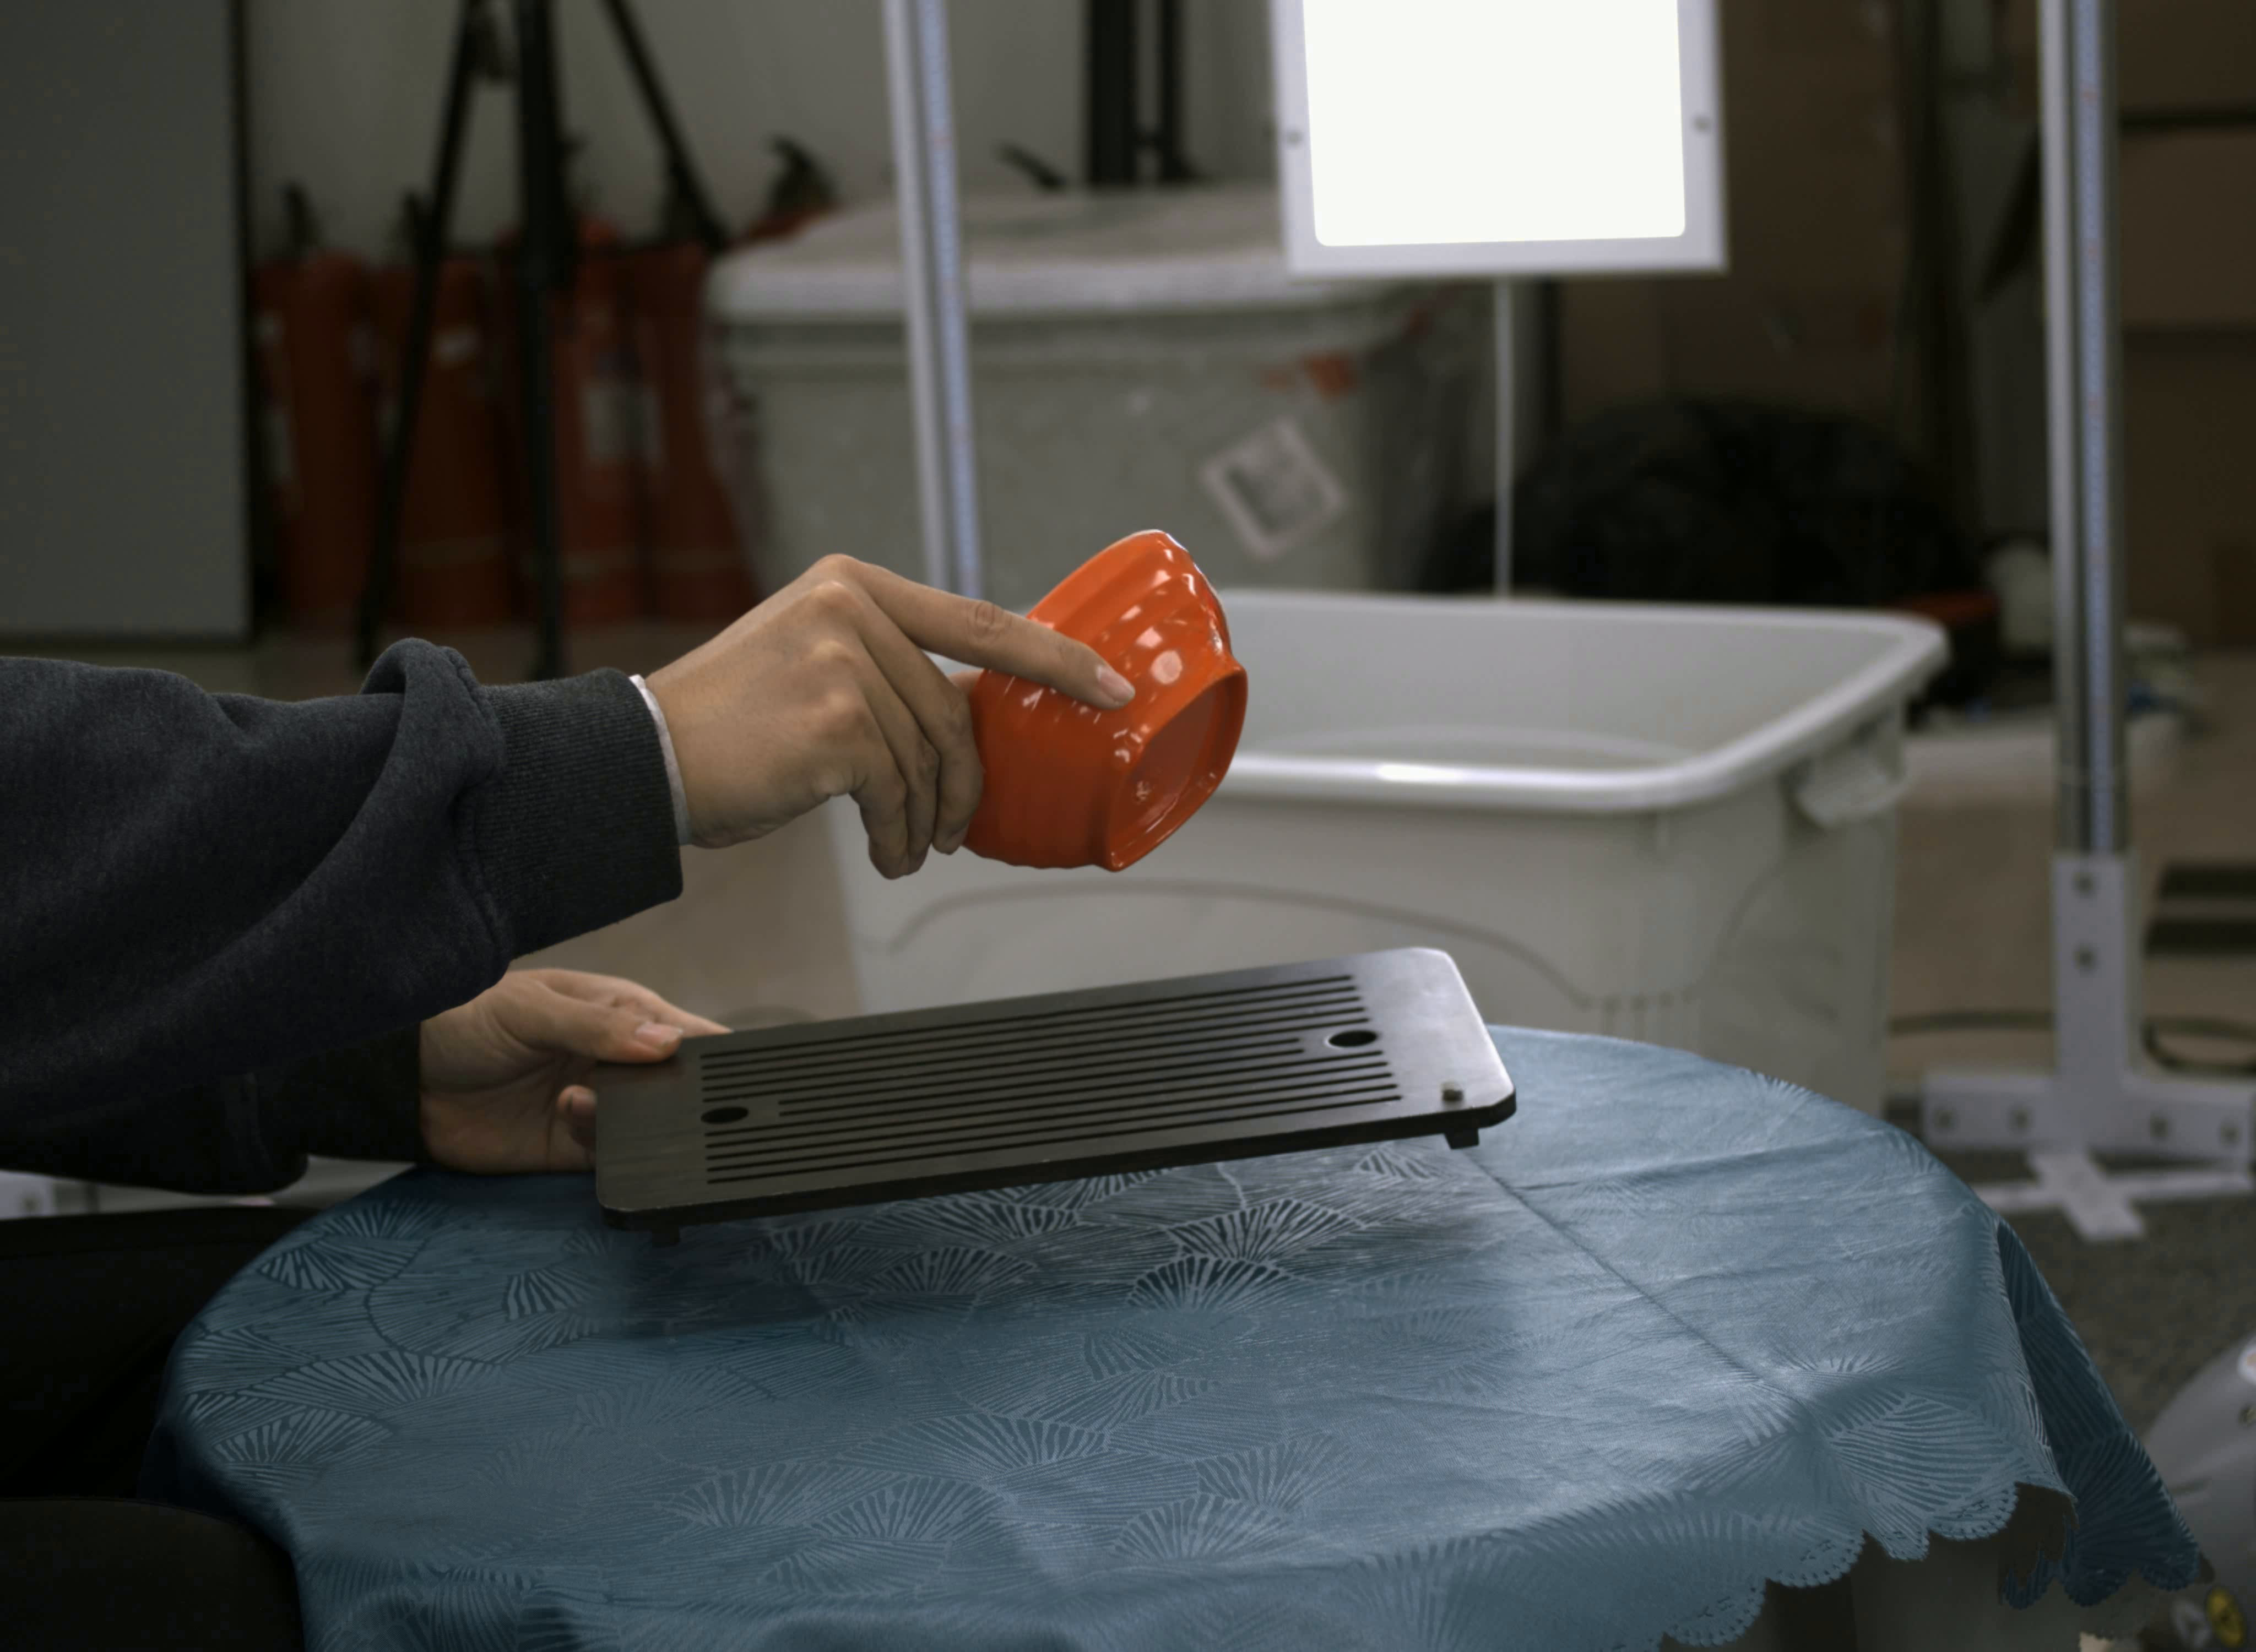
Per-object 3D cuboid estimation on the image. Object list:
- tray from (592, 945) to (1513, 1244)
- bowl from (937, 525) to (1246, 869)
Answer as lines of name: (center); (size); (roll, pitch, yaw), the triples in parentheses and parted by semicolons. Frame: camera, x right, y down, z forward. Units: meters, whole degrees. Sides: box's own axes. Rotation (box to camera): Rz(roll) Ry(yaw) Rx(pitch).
tray: (-0.030, 0.091, 1.871); (0.305, 0.019, 0.170); (-8, 17, -1)
bowl: (-0.004, -0.031, 1.718); (0.052, 0.120, 0.116); (39, 33, 21)
